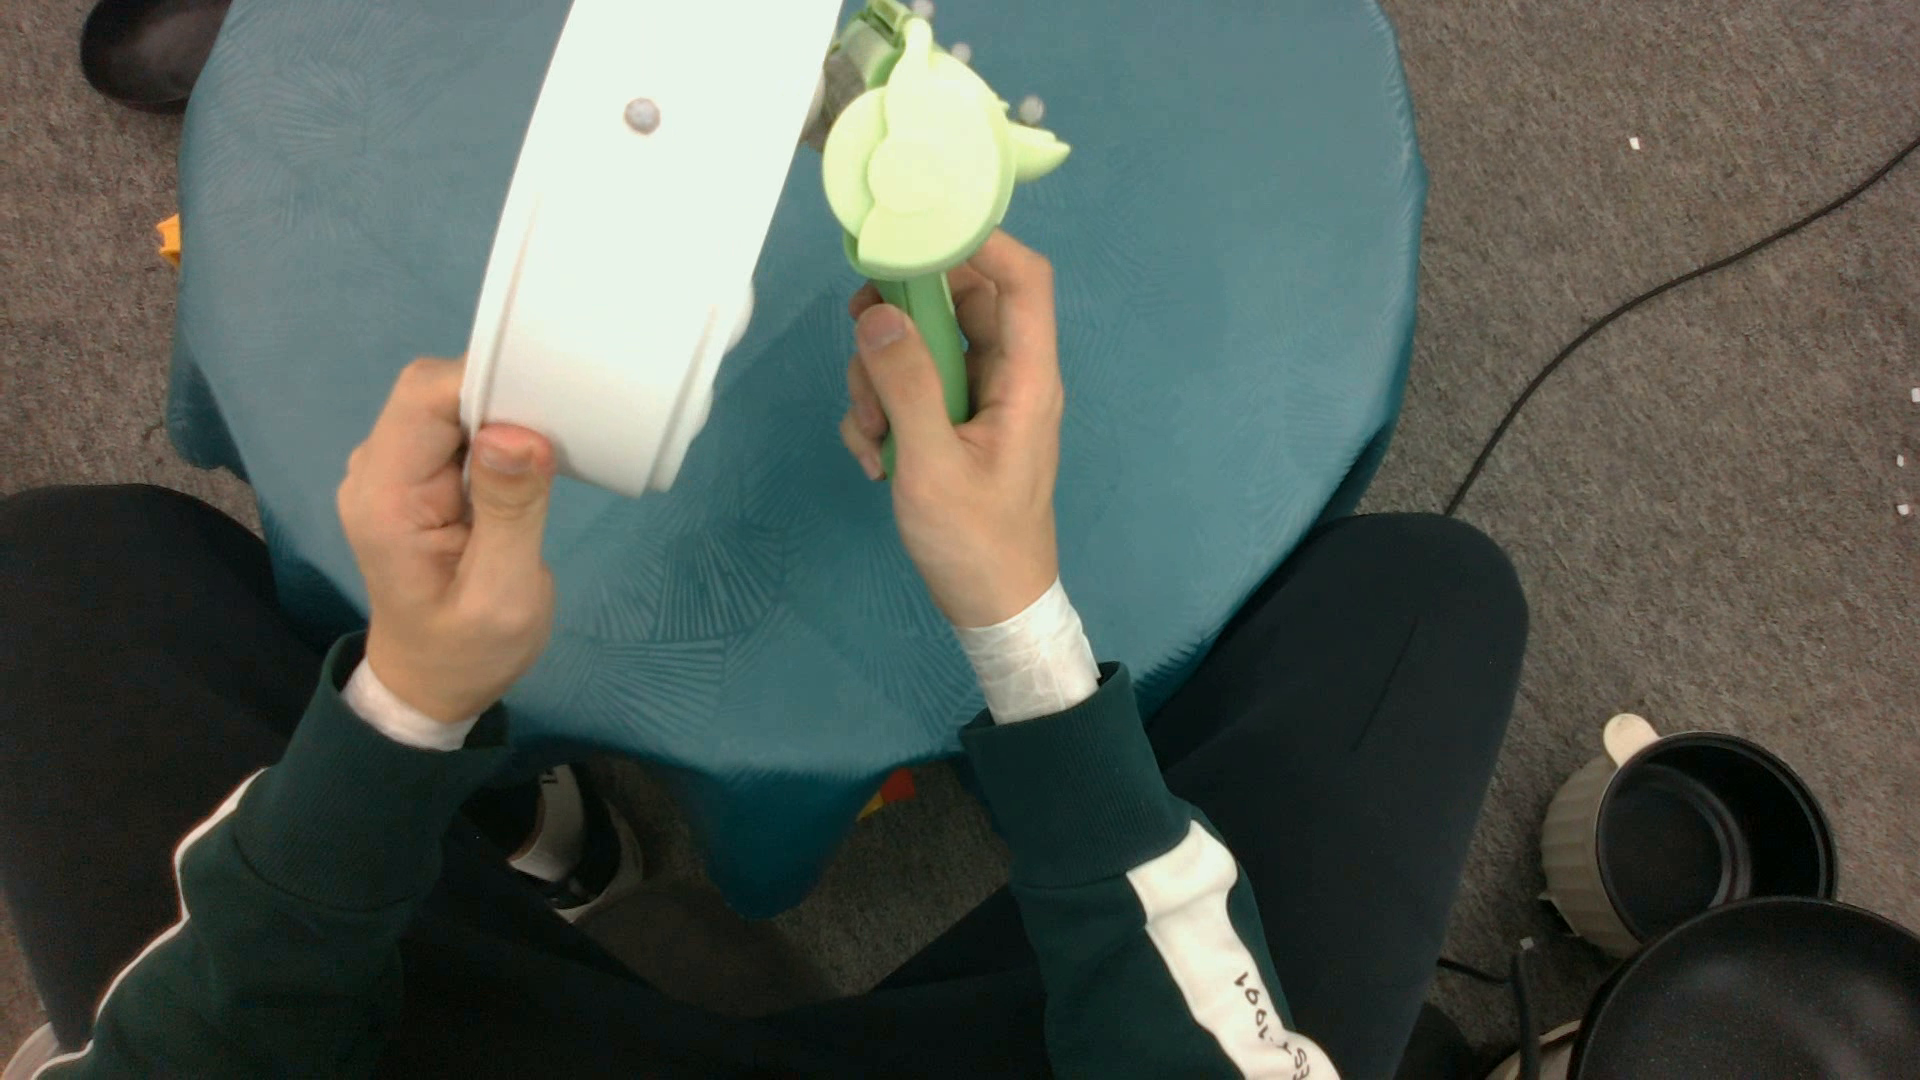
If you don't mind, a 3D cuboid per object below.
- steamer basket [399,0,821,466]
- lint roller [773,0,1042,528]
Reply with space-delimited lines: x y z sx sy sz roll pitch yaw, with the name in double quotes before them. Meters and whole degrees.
"steamer basket" -0.107 -0.121 0.442 0.069 0.202 0.230 23 91 -19
"lint roller" -0.011 -0.094 0.483 0.082 0.199 0.183 -19 115 -1
